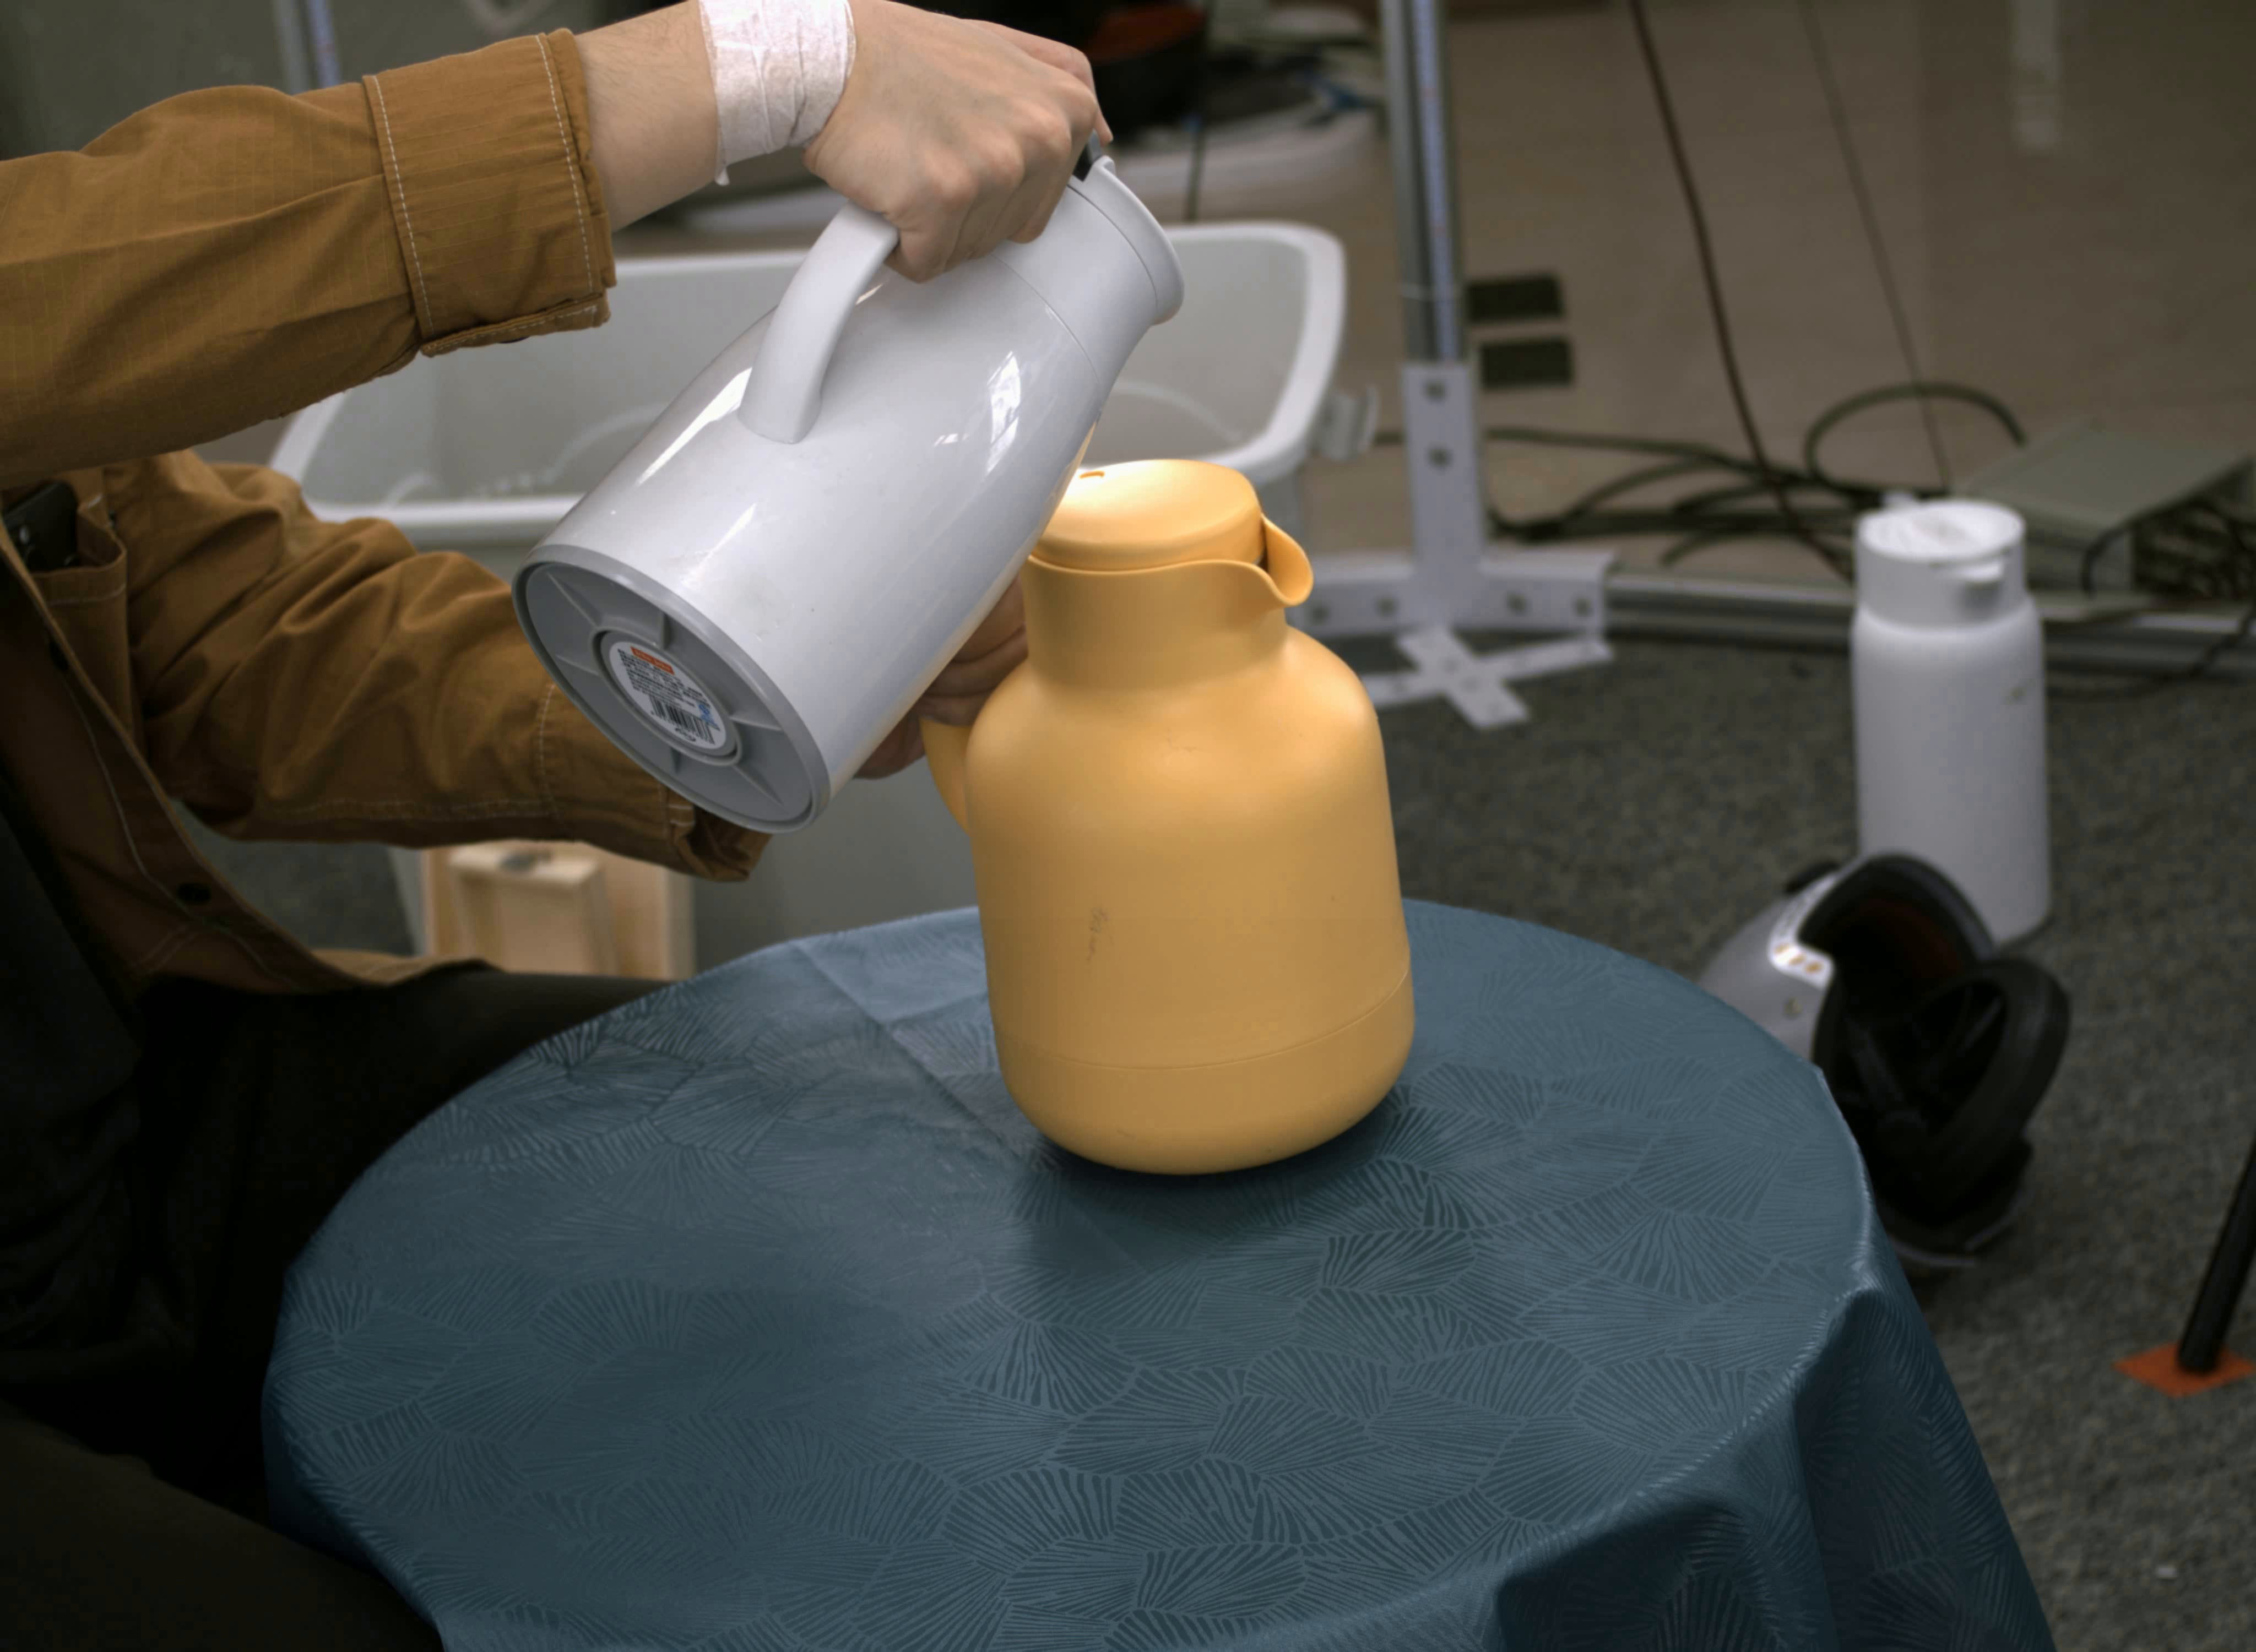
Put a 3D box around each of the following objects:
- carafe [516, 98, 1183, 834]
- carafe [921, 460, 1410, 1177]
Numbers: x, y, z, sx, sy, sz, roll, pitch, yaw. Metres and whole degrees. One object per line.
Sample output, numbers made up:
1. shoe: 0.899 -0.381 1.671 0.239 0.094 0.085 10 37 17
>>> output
1. carafe: -0.086 -0.141 1.942 0.131 0.170 0.246 29 66 25
2. carafe: 0.006 -0.012 2.161 0.201 0.264 0.162 18 33 40
